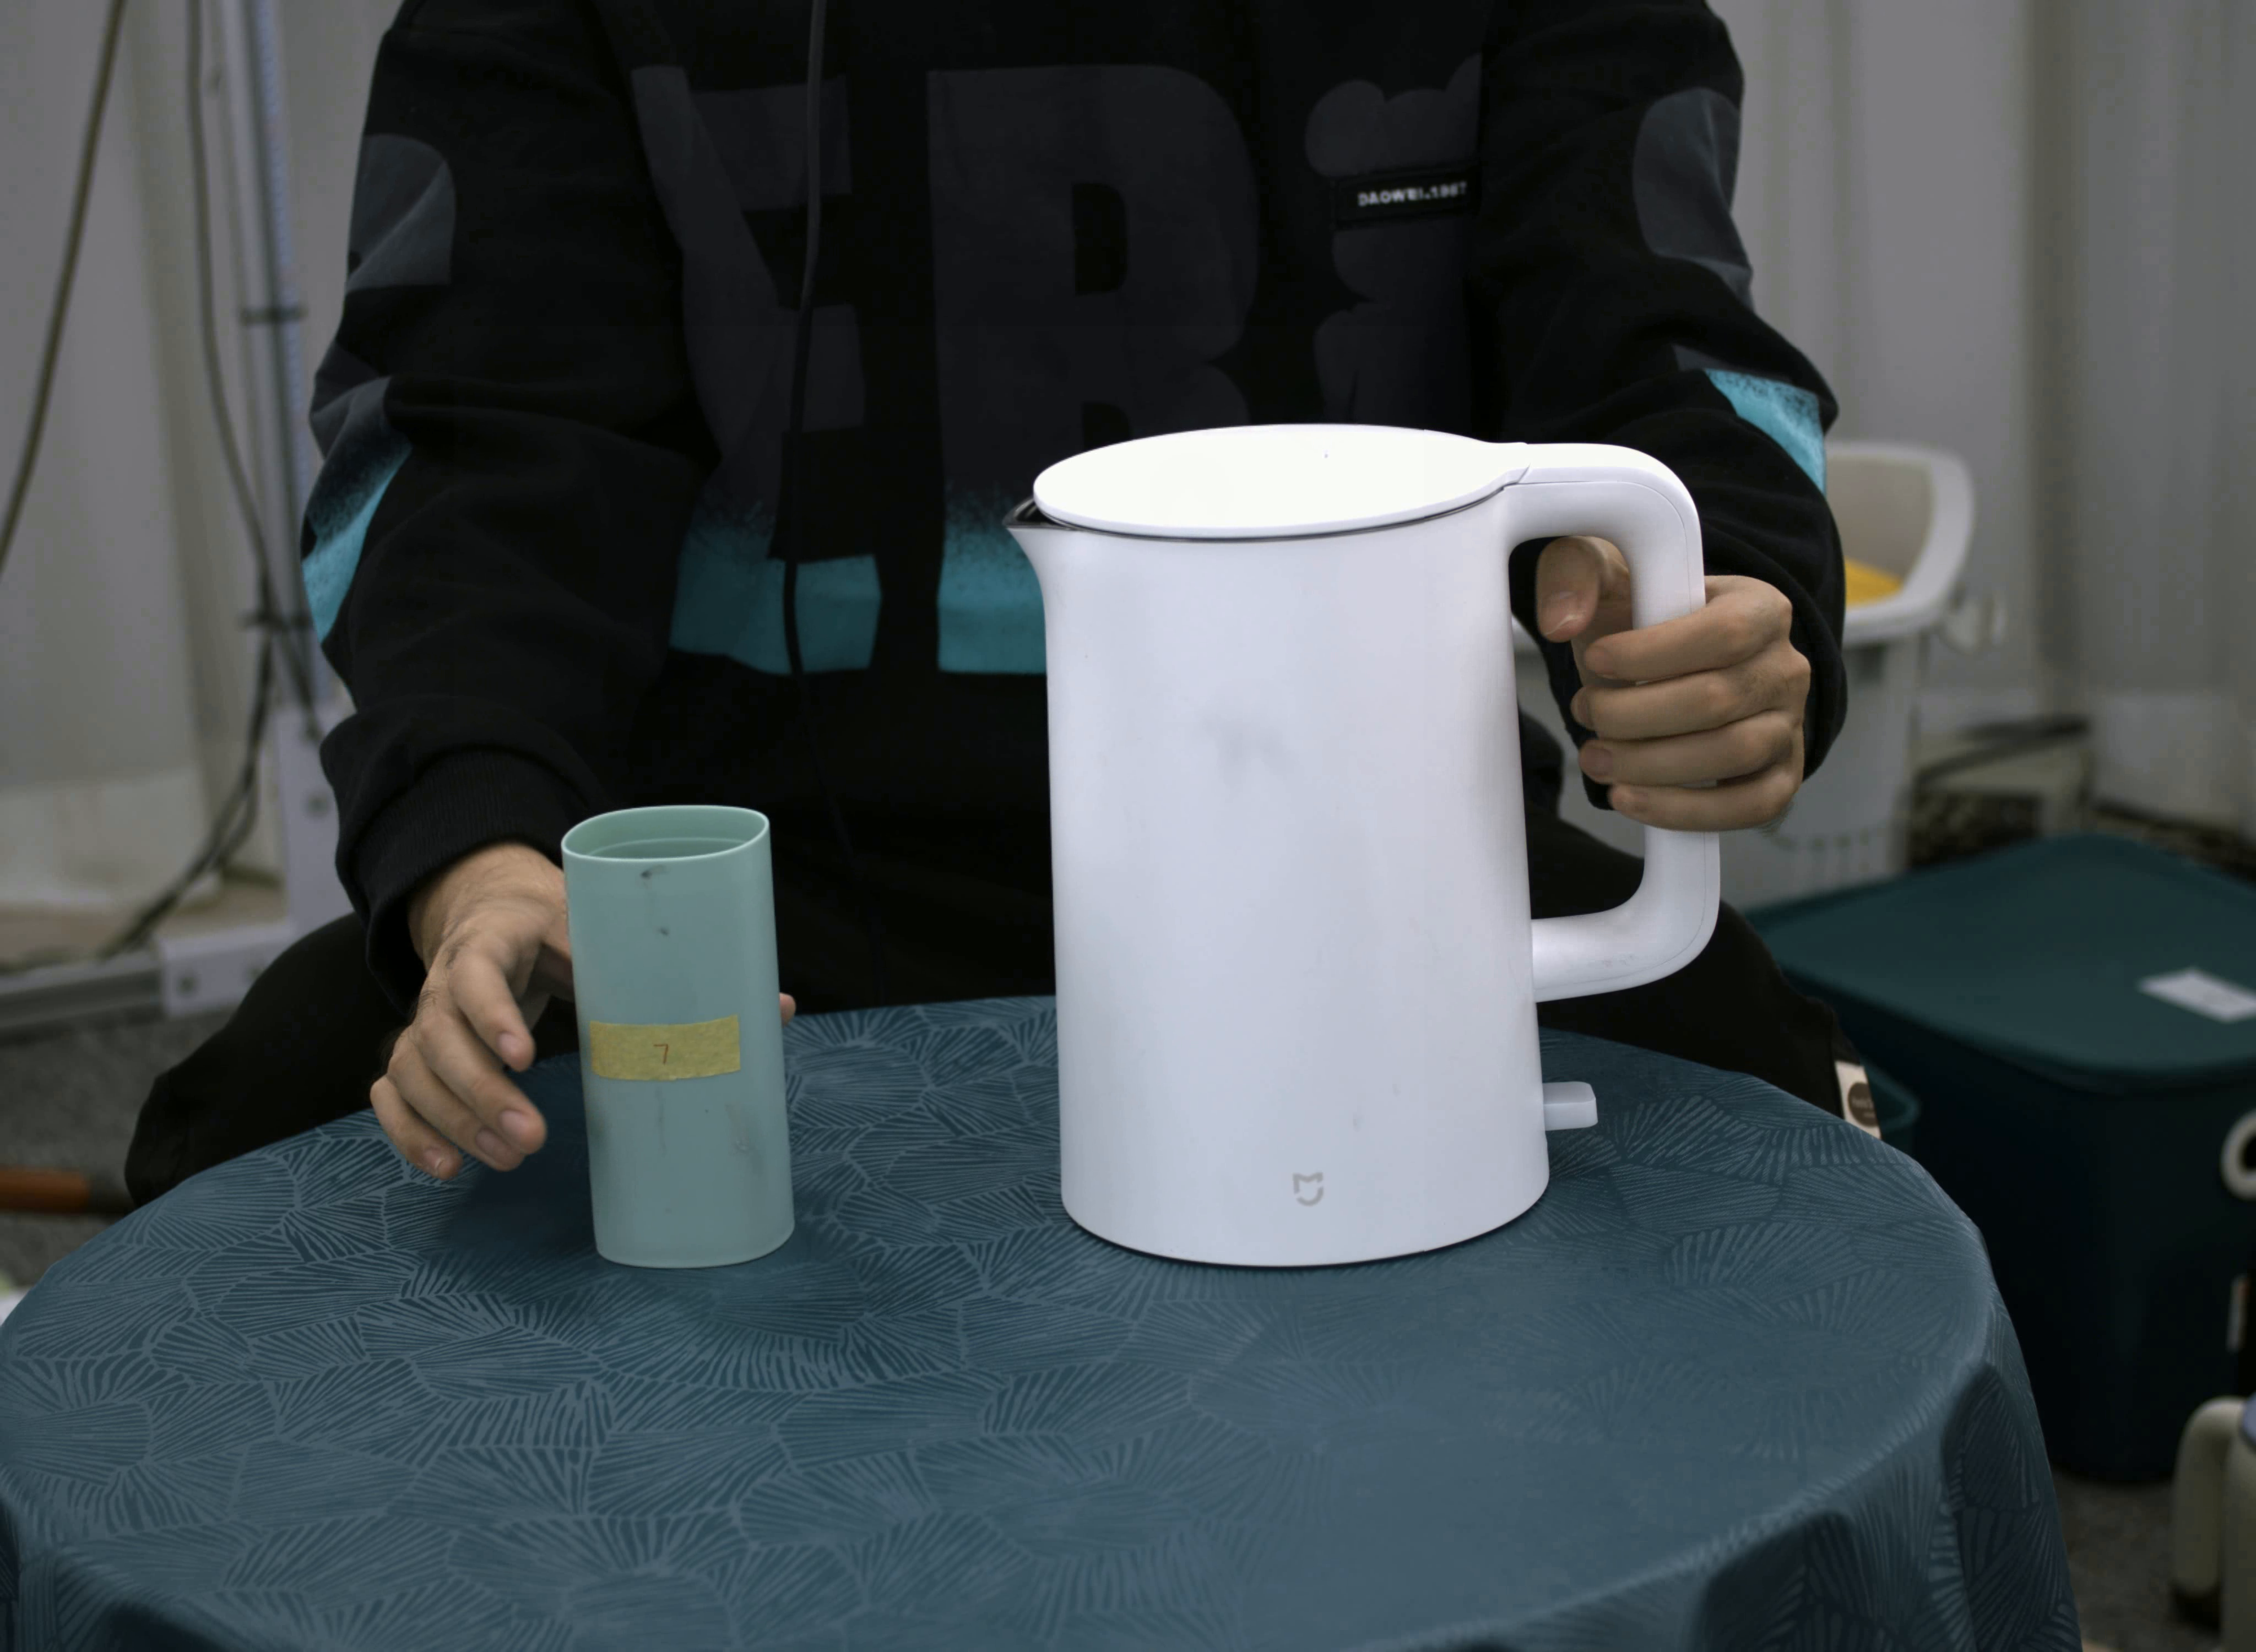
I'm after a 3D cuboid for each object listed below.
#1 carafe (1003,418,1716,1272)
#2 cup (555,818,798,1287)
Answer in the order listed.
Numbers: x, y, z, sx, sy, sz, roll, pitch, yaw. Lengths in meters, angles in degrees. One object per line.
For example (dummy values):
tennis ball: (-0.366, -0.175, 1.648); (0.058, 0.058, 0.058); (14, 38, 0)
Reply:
carafe: (0.074, 0.001, 1.677); (0.212, 0.239, 0.153); (-4, 15, -1)
cup: (-0.137, 0.068, 1.678); (0.066, 0.132, 0.067); (-4, 15, 1)
